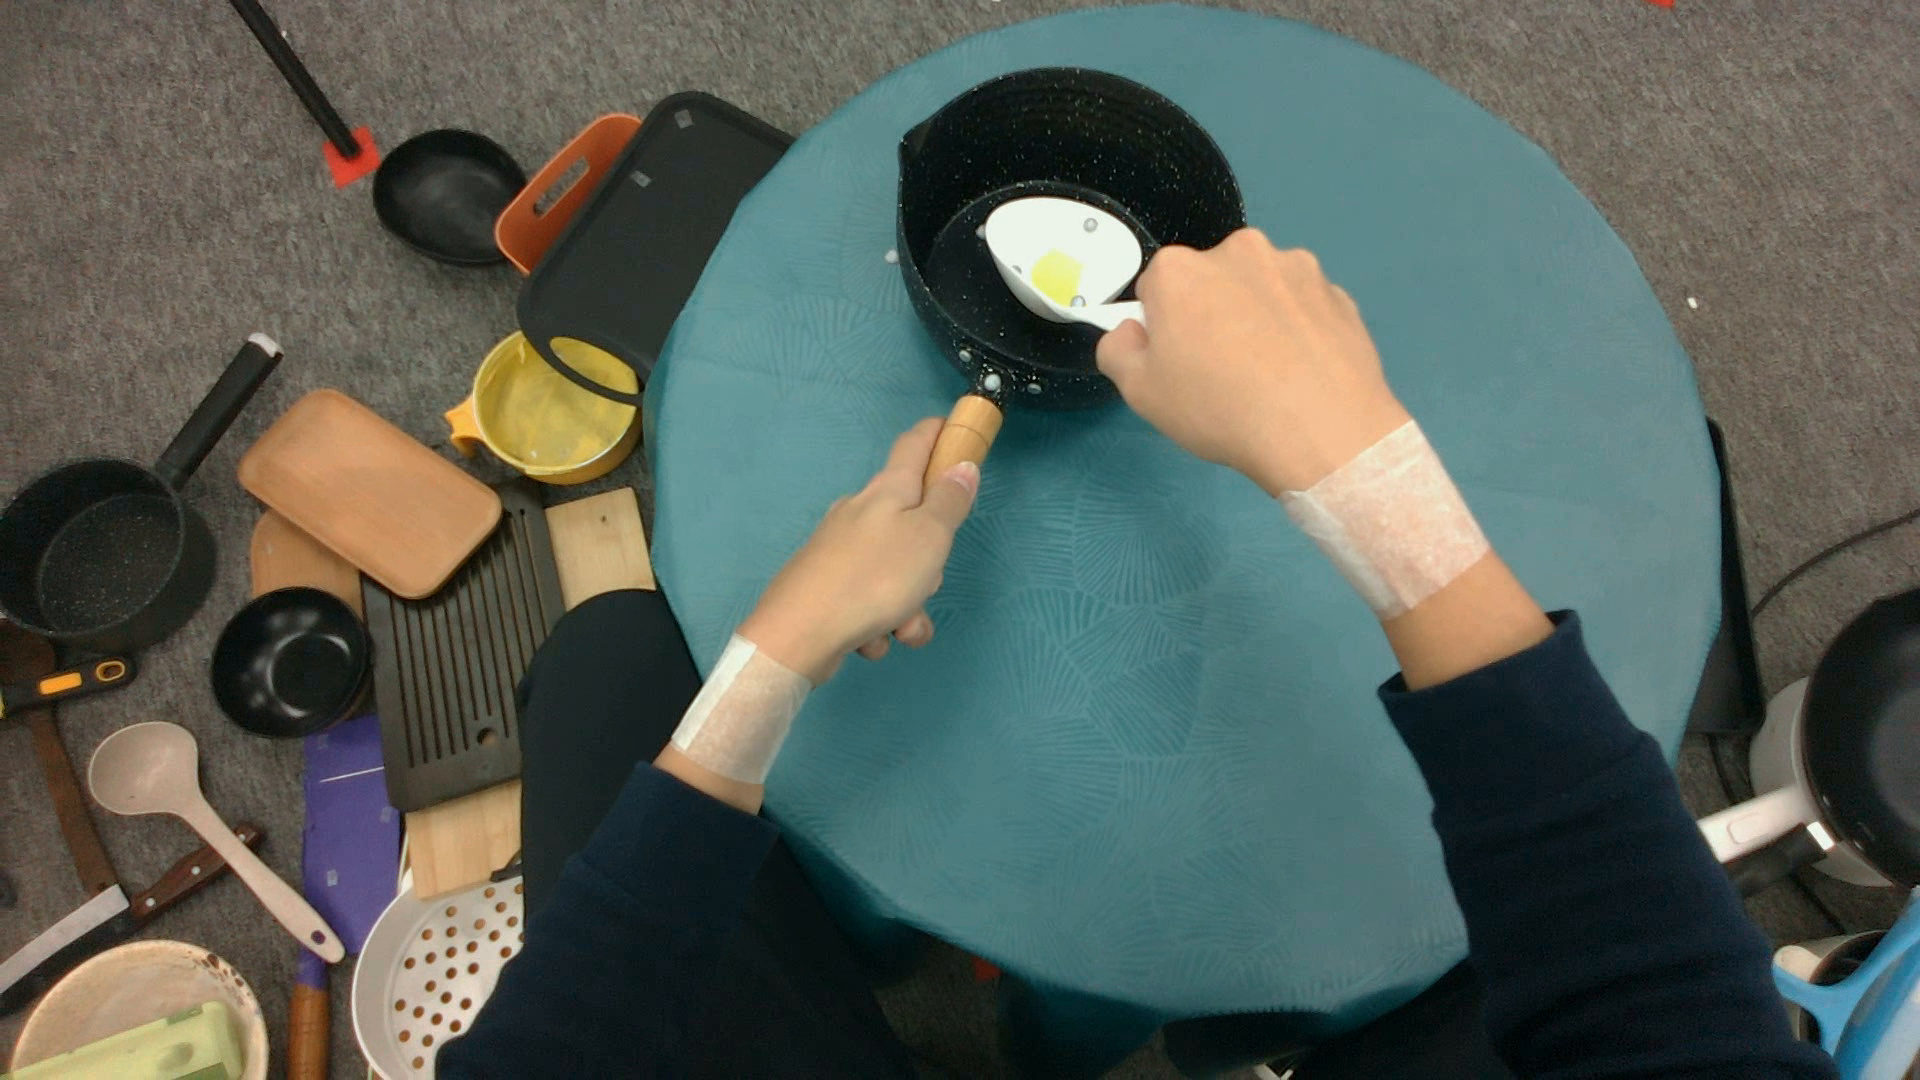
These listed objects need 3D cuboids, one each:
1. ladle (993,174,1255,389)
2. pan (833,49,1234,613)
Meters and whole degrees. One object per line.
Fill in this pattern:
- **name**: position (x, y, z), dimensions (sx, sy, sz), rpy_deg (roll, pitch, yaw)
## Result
- **ladle**: position (0.078, -0.132, 0.662), dimensions (0.090, 0.293, 0.070), rpy_deg (14, 103, -14)
- **pan**: position (0.017, -0.100, 0.718), dimensions (0.207, 0.108, 0.344), rpy_deg (23, 69, 1)
